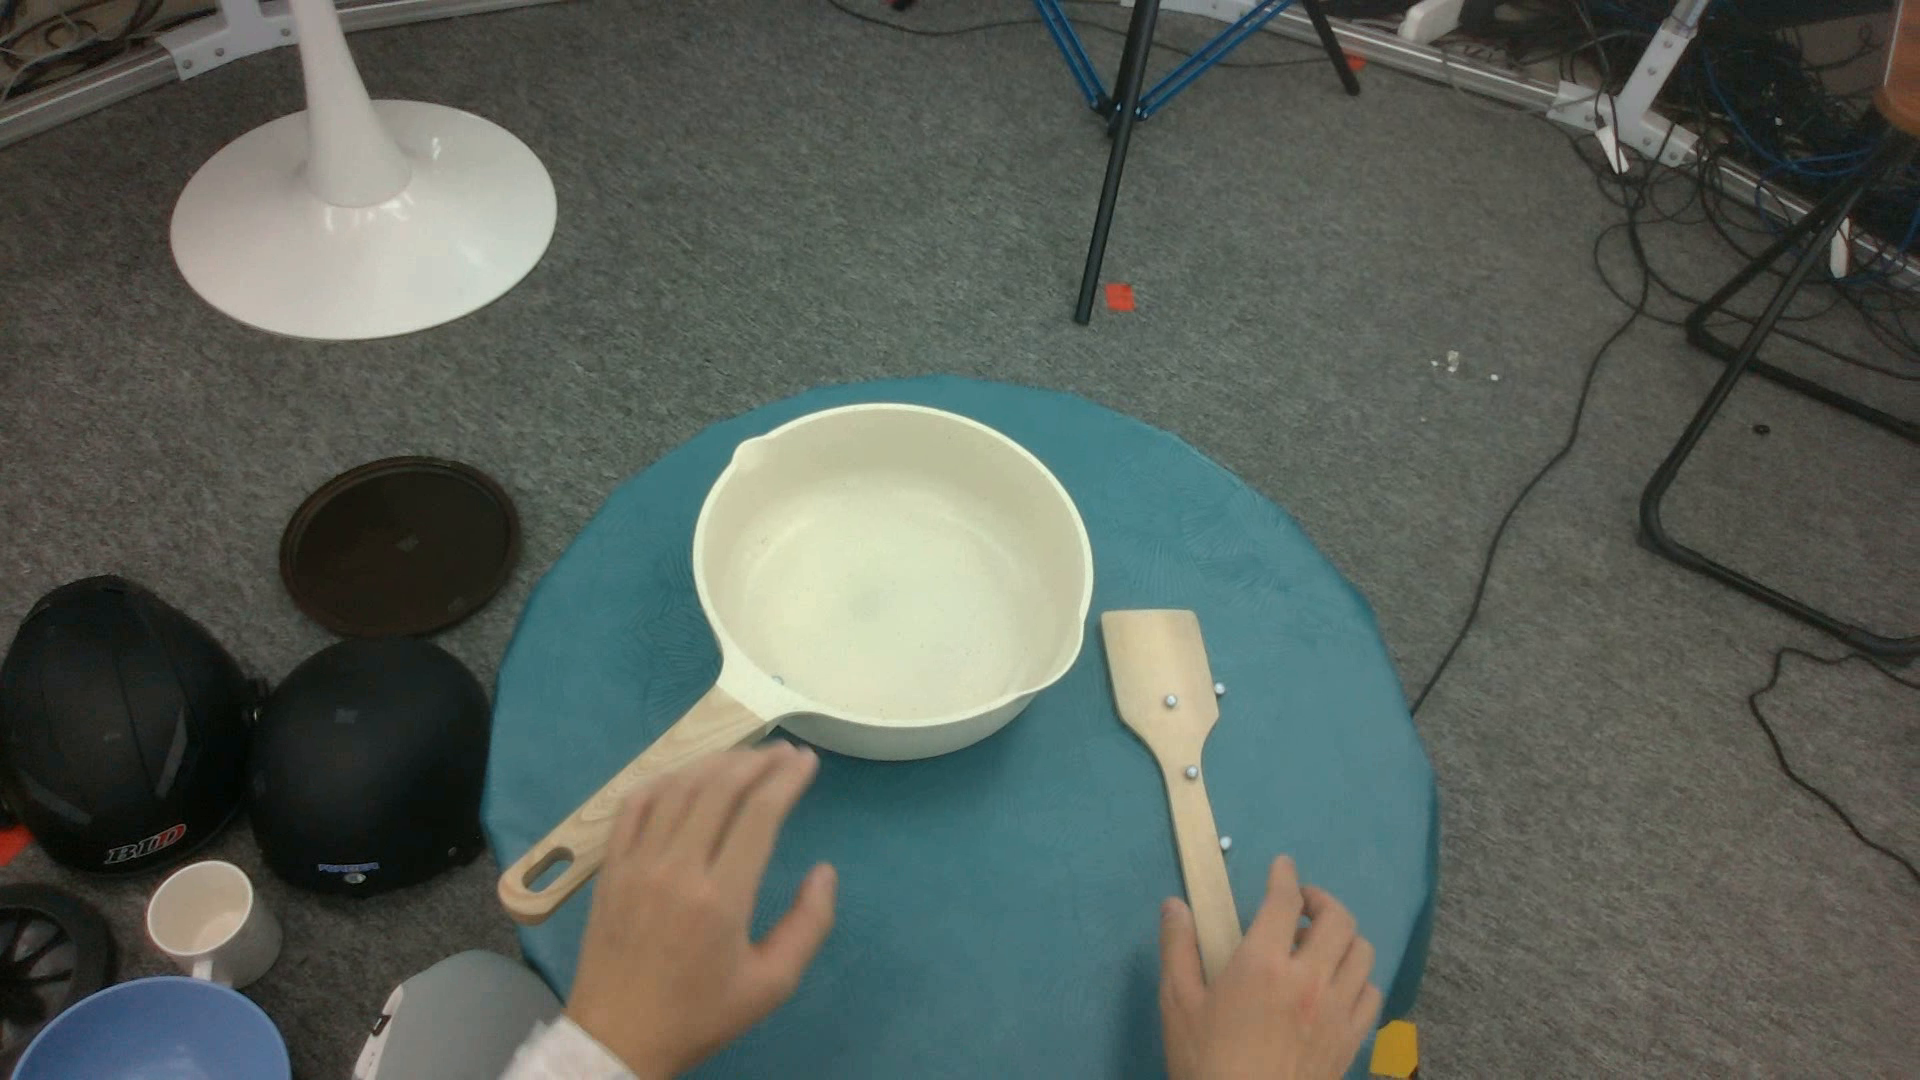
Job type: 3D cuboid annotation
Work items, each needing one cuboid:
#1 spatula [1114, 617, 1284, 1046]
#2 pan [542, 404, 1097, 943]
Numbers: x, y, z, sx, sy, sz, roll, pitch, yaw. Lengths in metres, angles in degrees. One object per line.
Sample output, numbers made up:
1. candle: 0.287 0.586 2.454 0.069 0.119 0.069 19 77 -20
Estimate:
1. spatula: 0.157 0.172 0.871 0.072 0.010 0.294 -1 52 -9
2. pan: -0.091 0.085 0.850 0.263 0.101 0.437 32 56 15
